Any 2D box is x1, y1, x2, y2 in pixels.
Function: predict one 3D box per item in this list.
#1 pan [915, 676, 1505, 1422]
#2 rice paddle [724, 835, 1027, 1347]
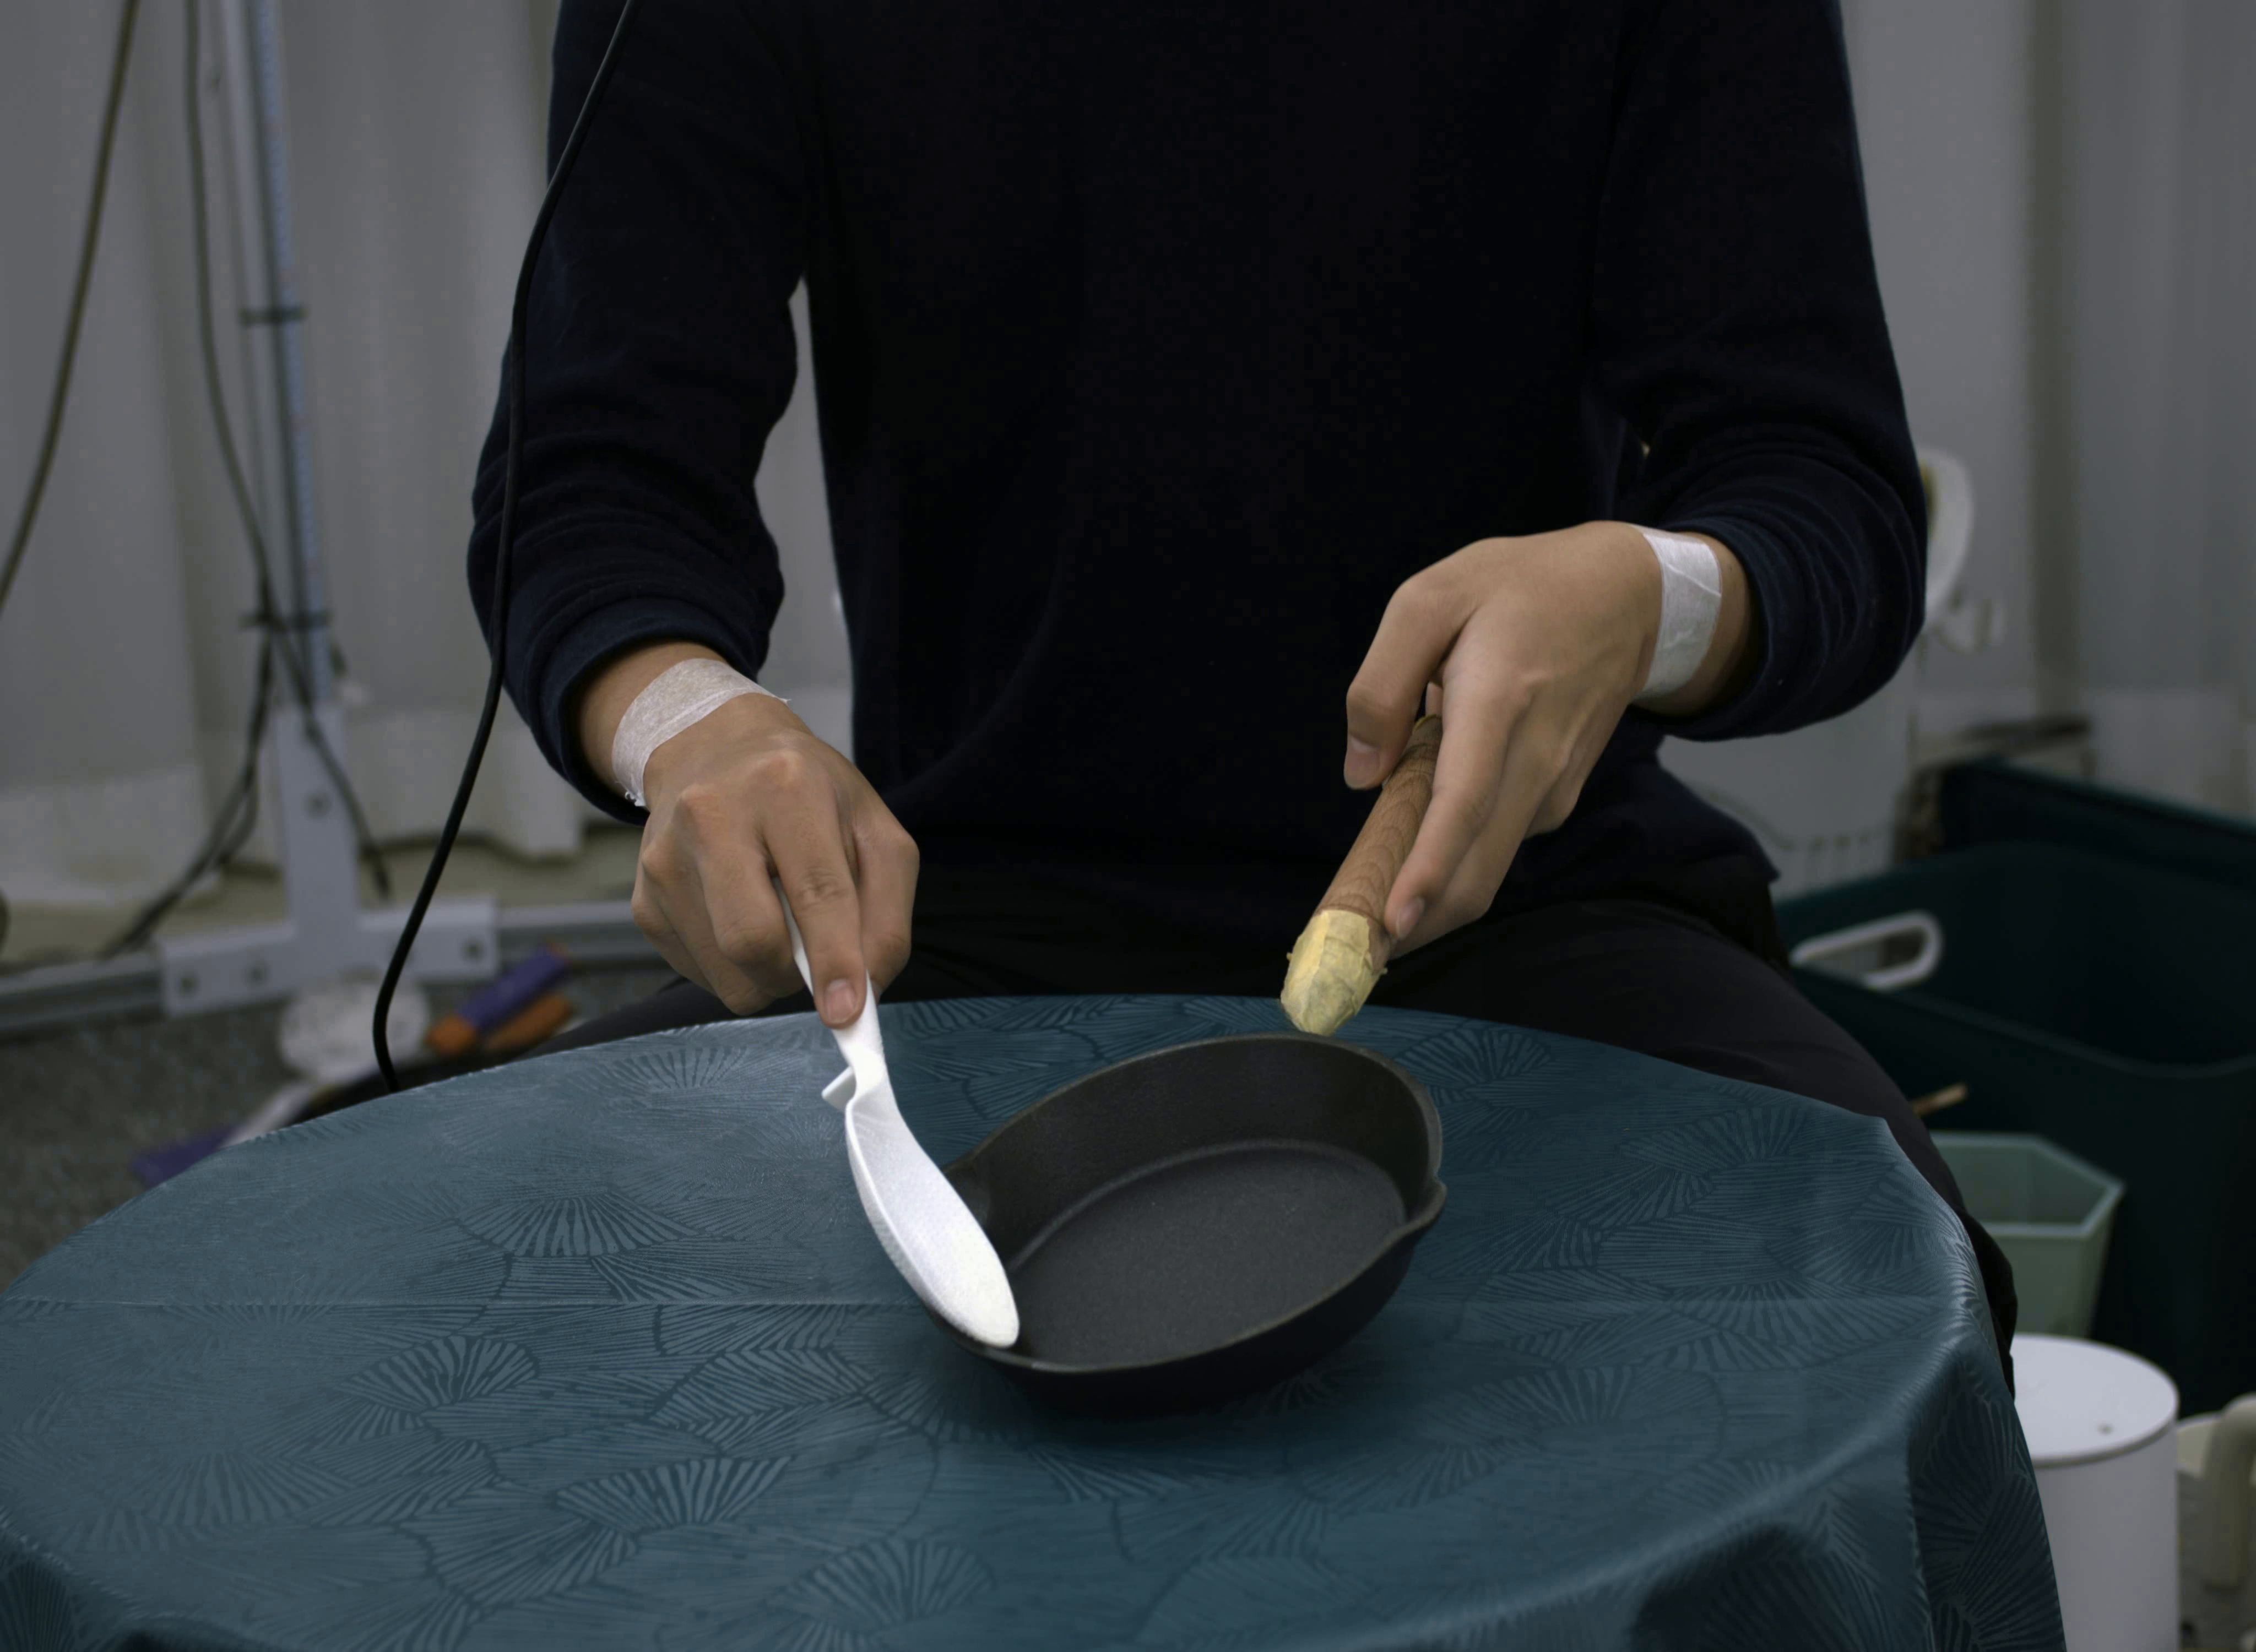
[{"bbox_3d":[0.052,0.063,1.619,0.169,0.049,0.327,2,36,31],"label":"pan"},{"bbox_3d":[-0.073,0.077,1.593,0.029,0.068,0.208,-41,43,11],"label":"rice paddle"}]
